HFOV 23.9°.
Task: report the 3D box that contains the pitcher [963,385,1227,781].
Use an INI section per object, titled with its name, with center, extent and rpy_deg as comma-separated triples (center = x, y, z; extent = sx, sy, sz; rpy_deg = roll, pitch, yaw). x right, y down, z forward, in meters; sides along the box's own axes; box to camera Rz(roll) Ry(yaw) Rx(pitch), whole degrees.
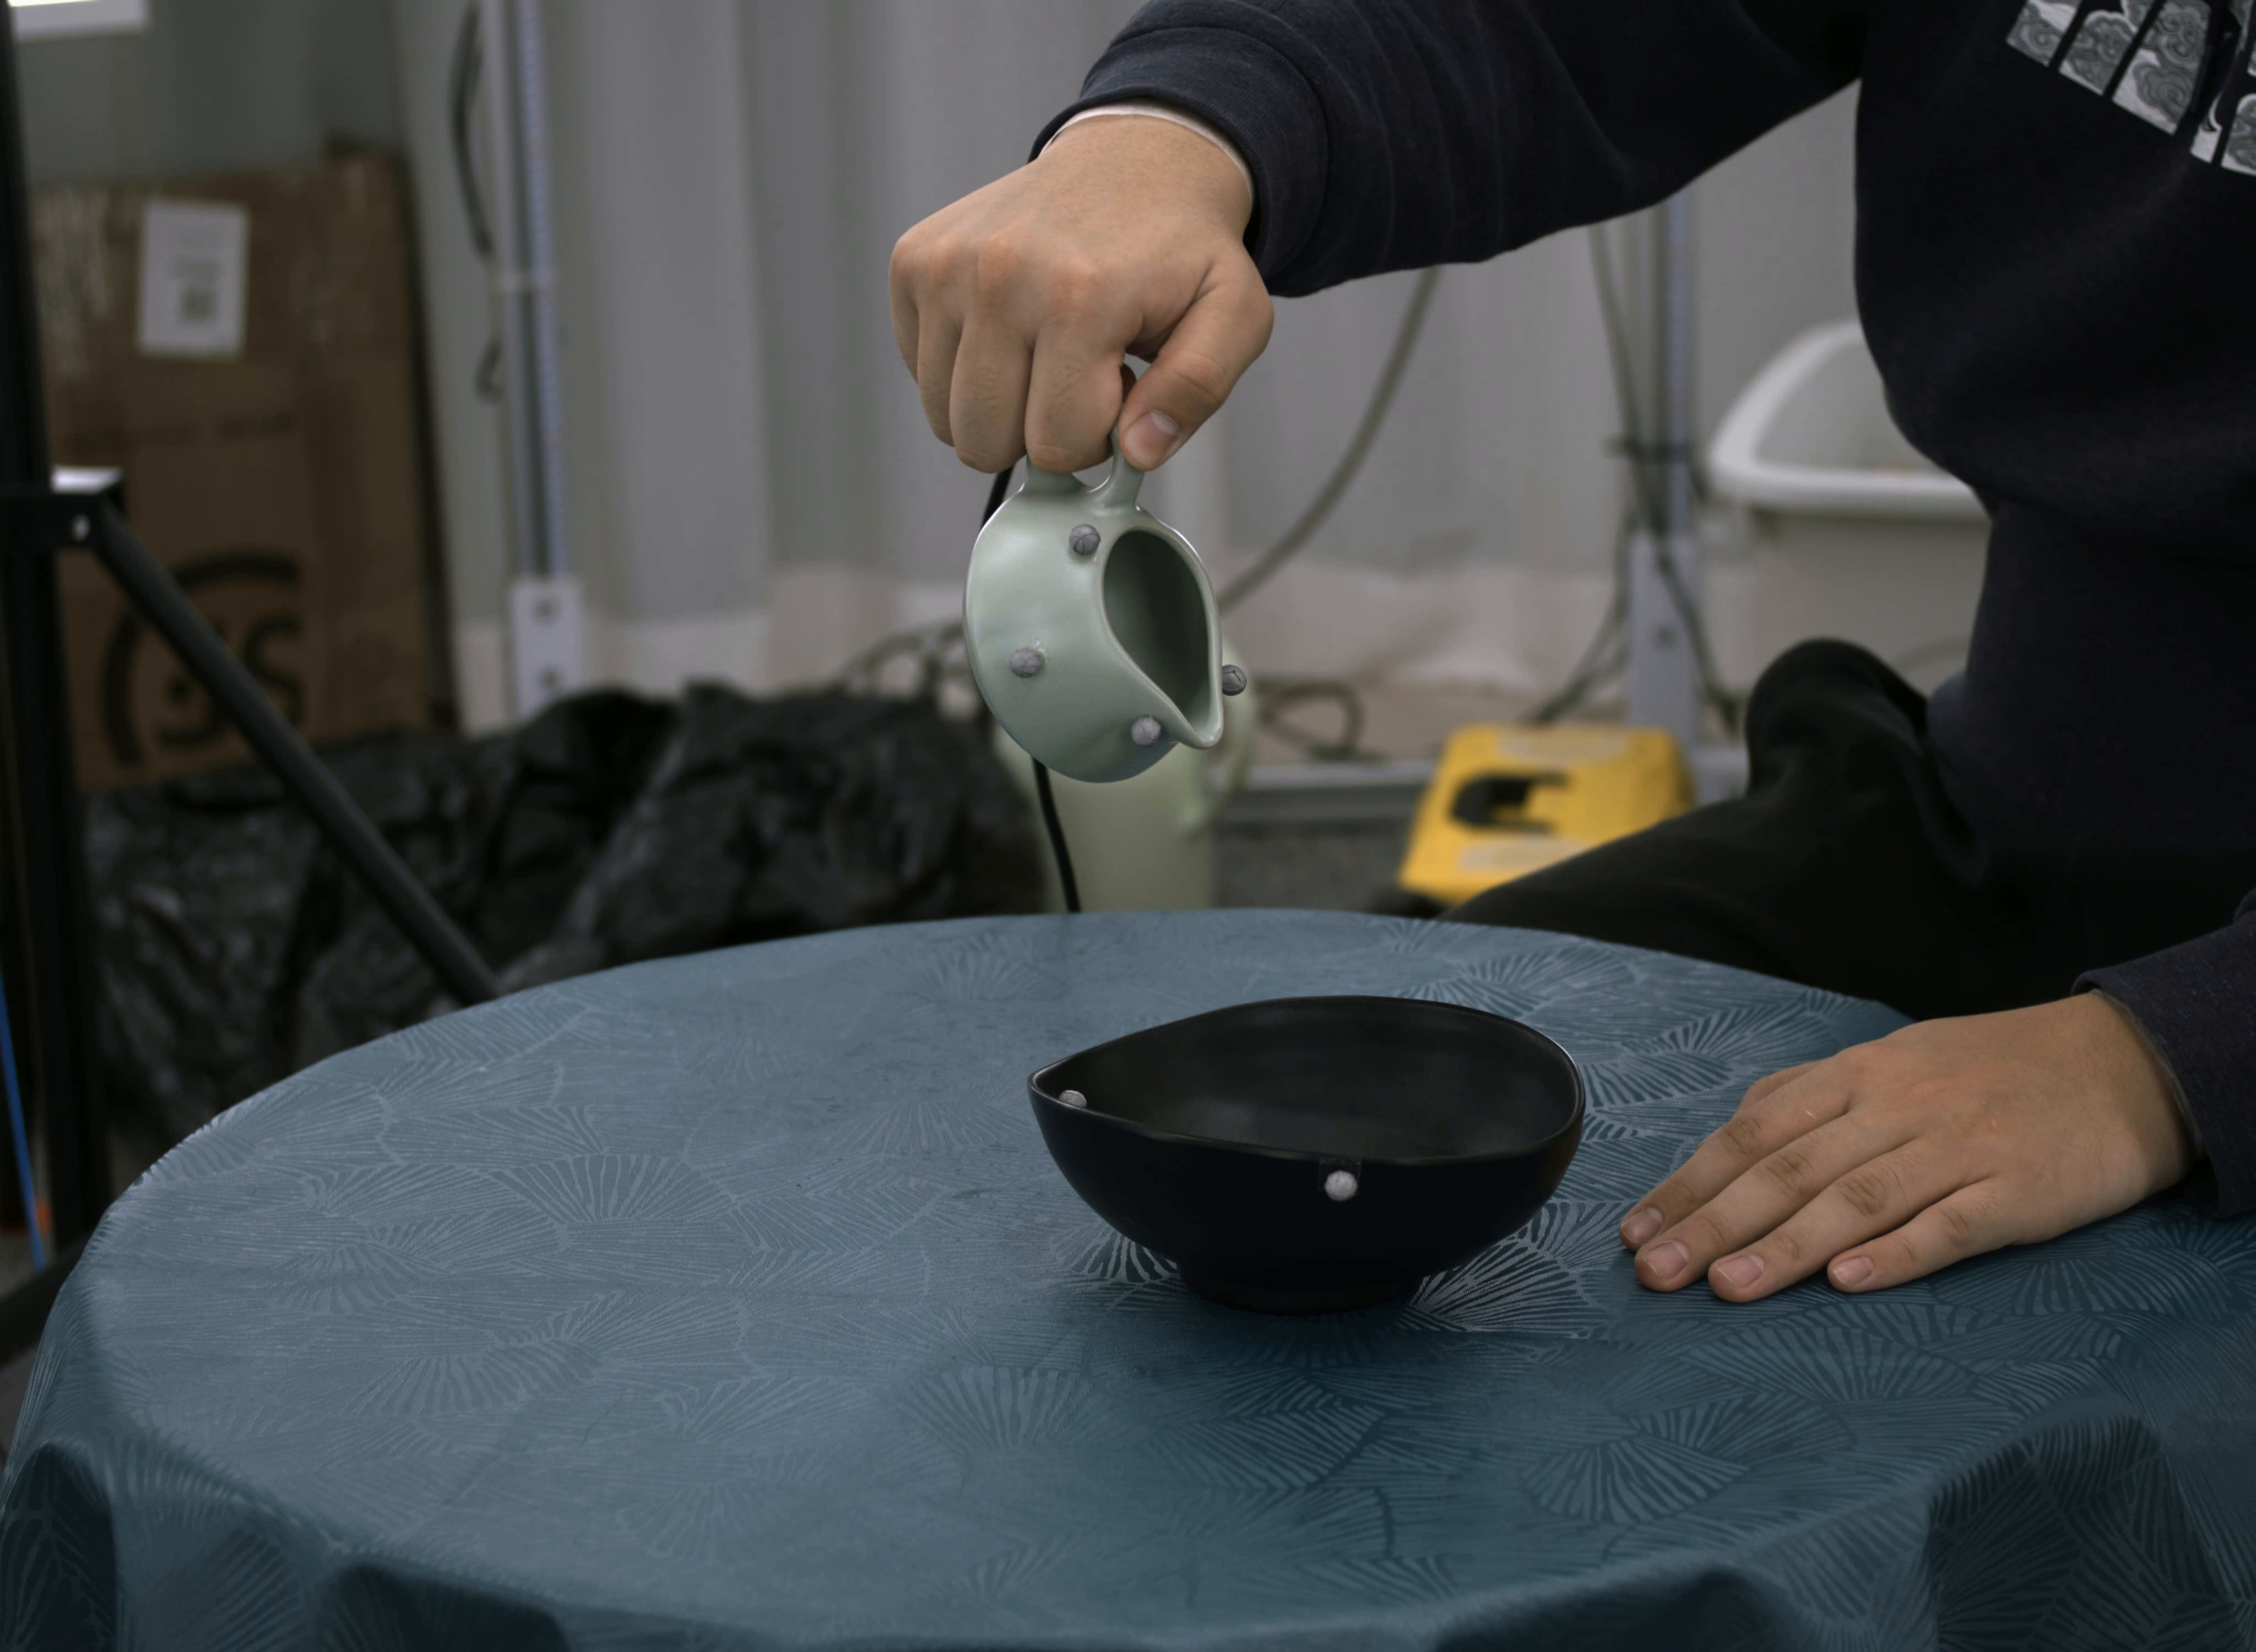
[pitcher]
center = -0.011, -0.067, 1.476
extent = 0.061, 0.108, 0.084
rpy_deg = -18, -1, 40

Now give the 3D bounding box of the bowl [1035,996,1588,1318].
[bowl]
center = 0.049, 0.096, 1.476
extent = 0.174, 0.067, 0.134
rpy_deg = 10, 19, 40
